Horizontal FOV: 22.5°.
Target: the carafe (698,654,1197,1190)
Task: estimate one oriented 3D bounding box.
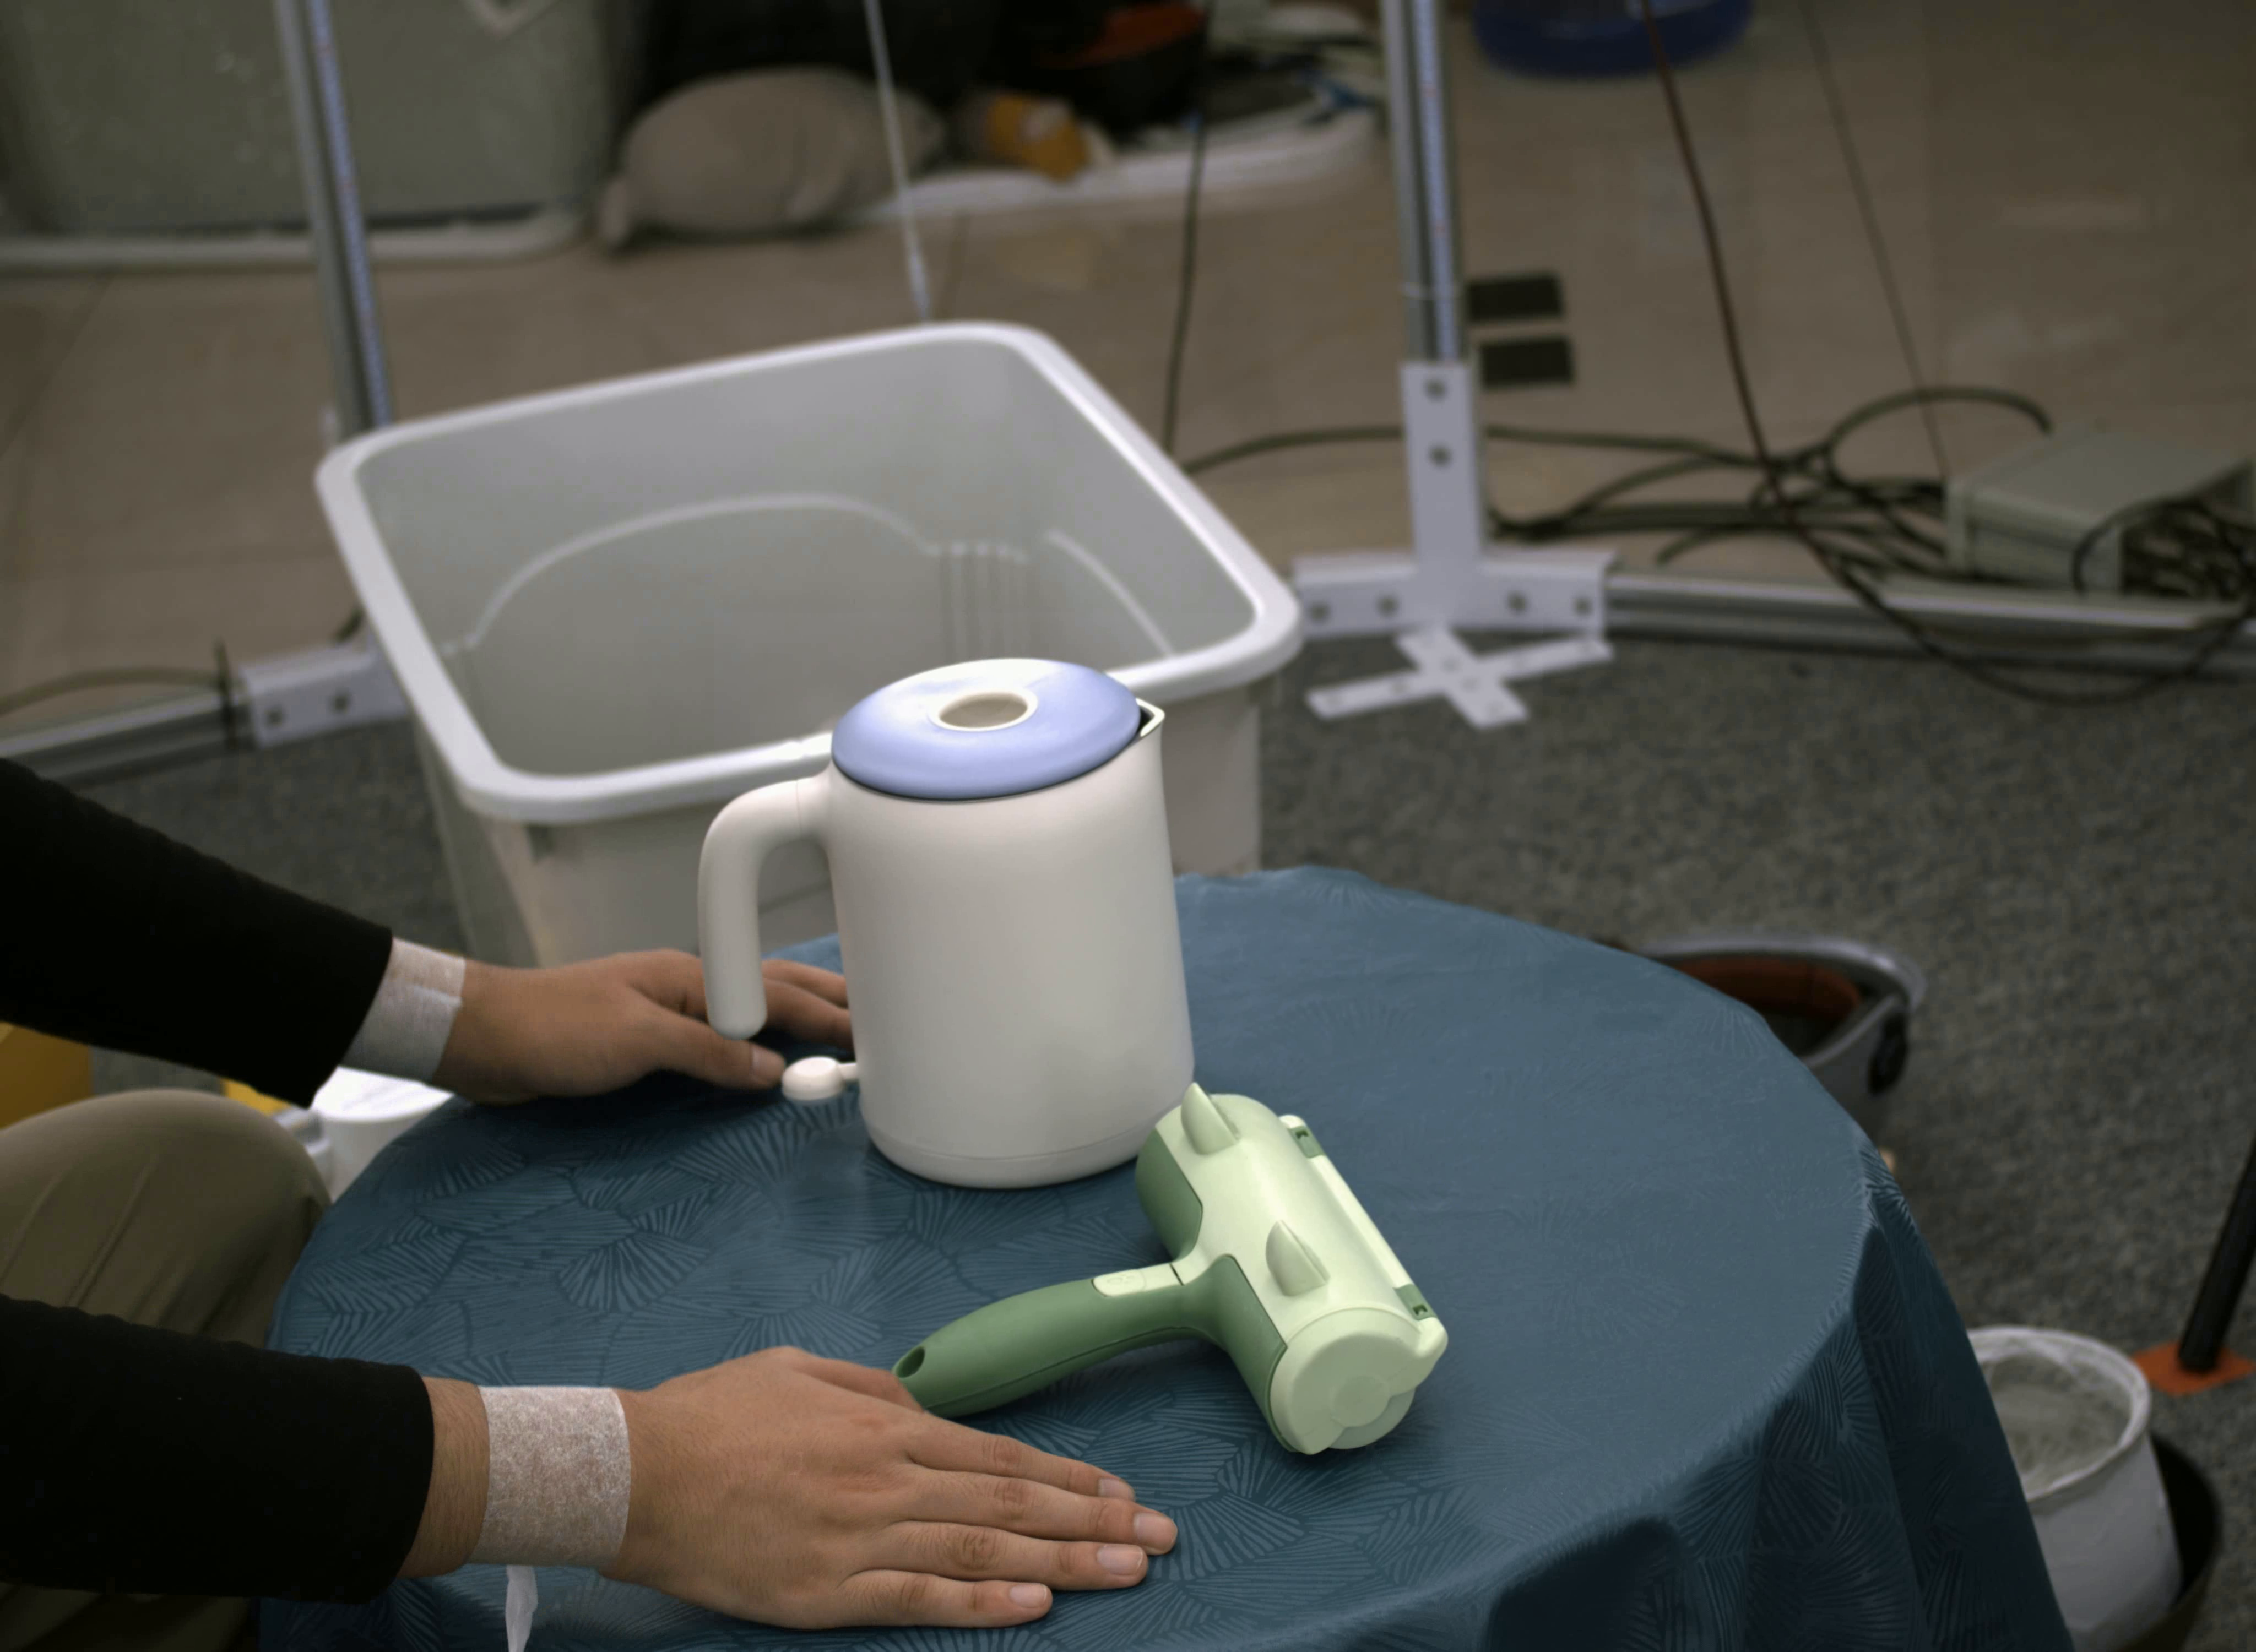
[{"bbox_3d":[-0.070,0.040,2.172,0.191,0.185,0.130,-9,25,-1],"label":"carafe"}]

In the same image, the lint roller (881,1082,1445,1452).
[{"bbox_3d":[-0.001,0.159,2.013,0.183,0.083,0.196,-9,24,-11],"label":"lint roller"}]
